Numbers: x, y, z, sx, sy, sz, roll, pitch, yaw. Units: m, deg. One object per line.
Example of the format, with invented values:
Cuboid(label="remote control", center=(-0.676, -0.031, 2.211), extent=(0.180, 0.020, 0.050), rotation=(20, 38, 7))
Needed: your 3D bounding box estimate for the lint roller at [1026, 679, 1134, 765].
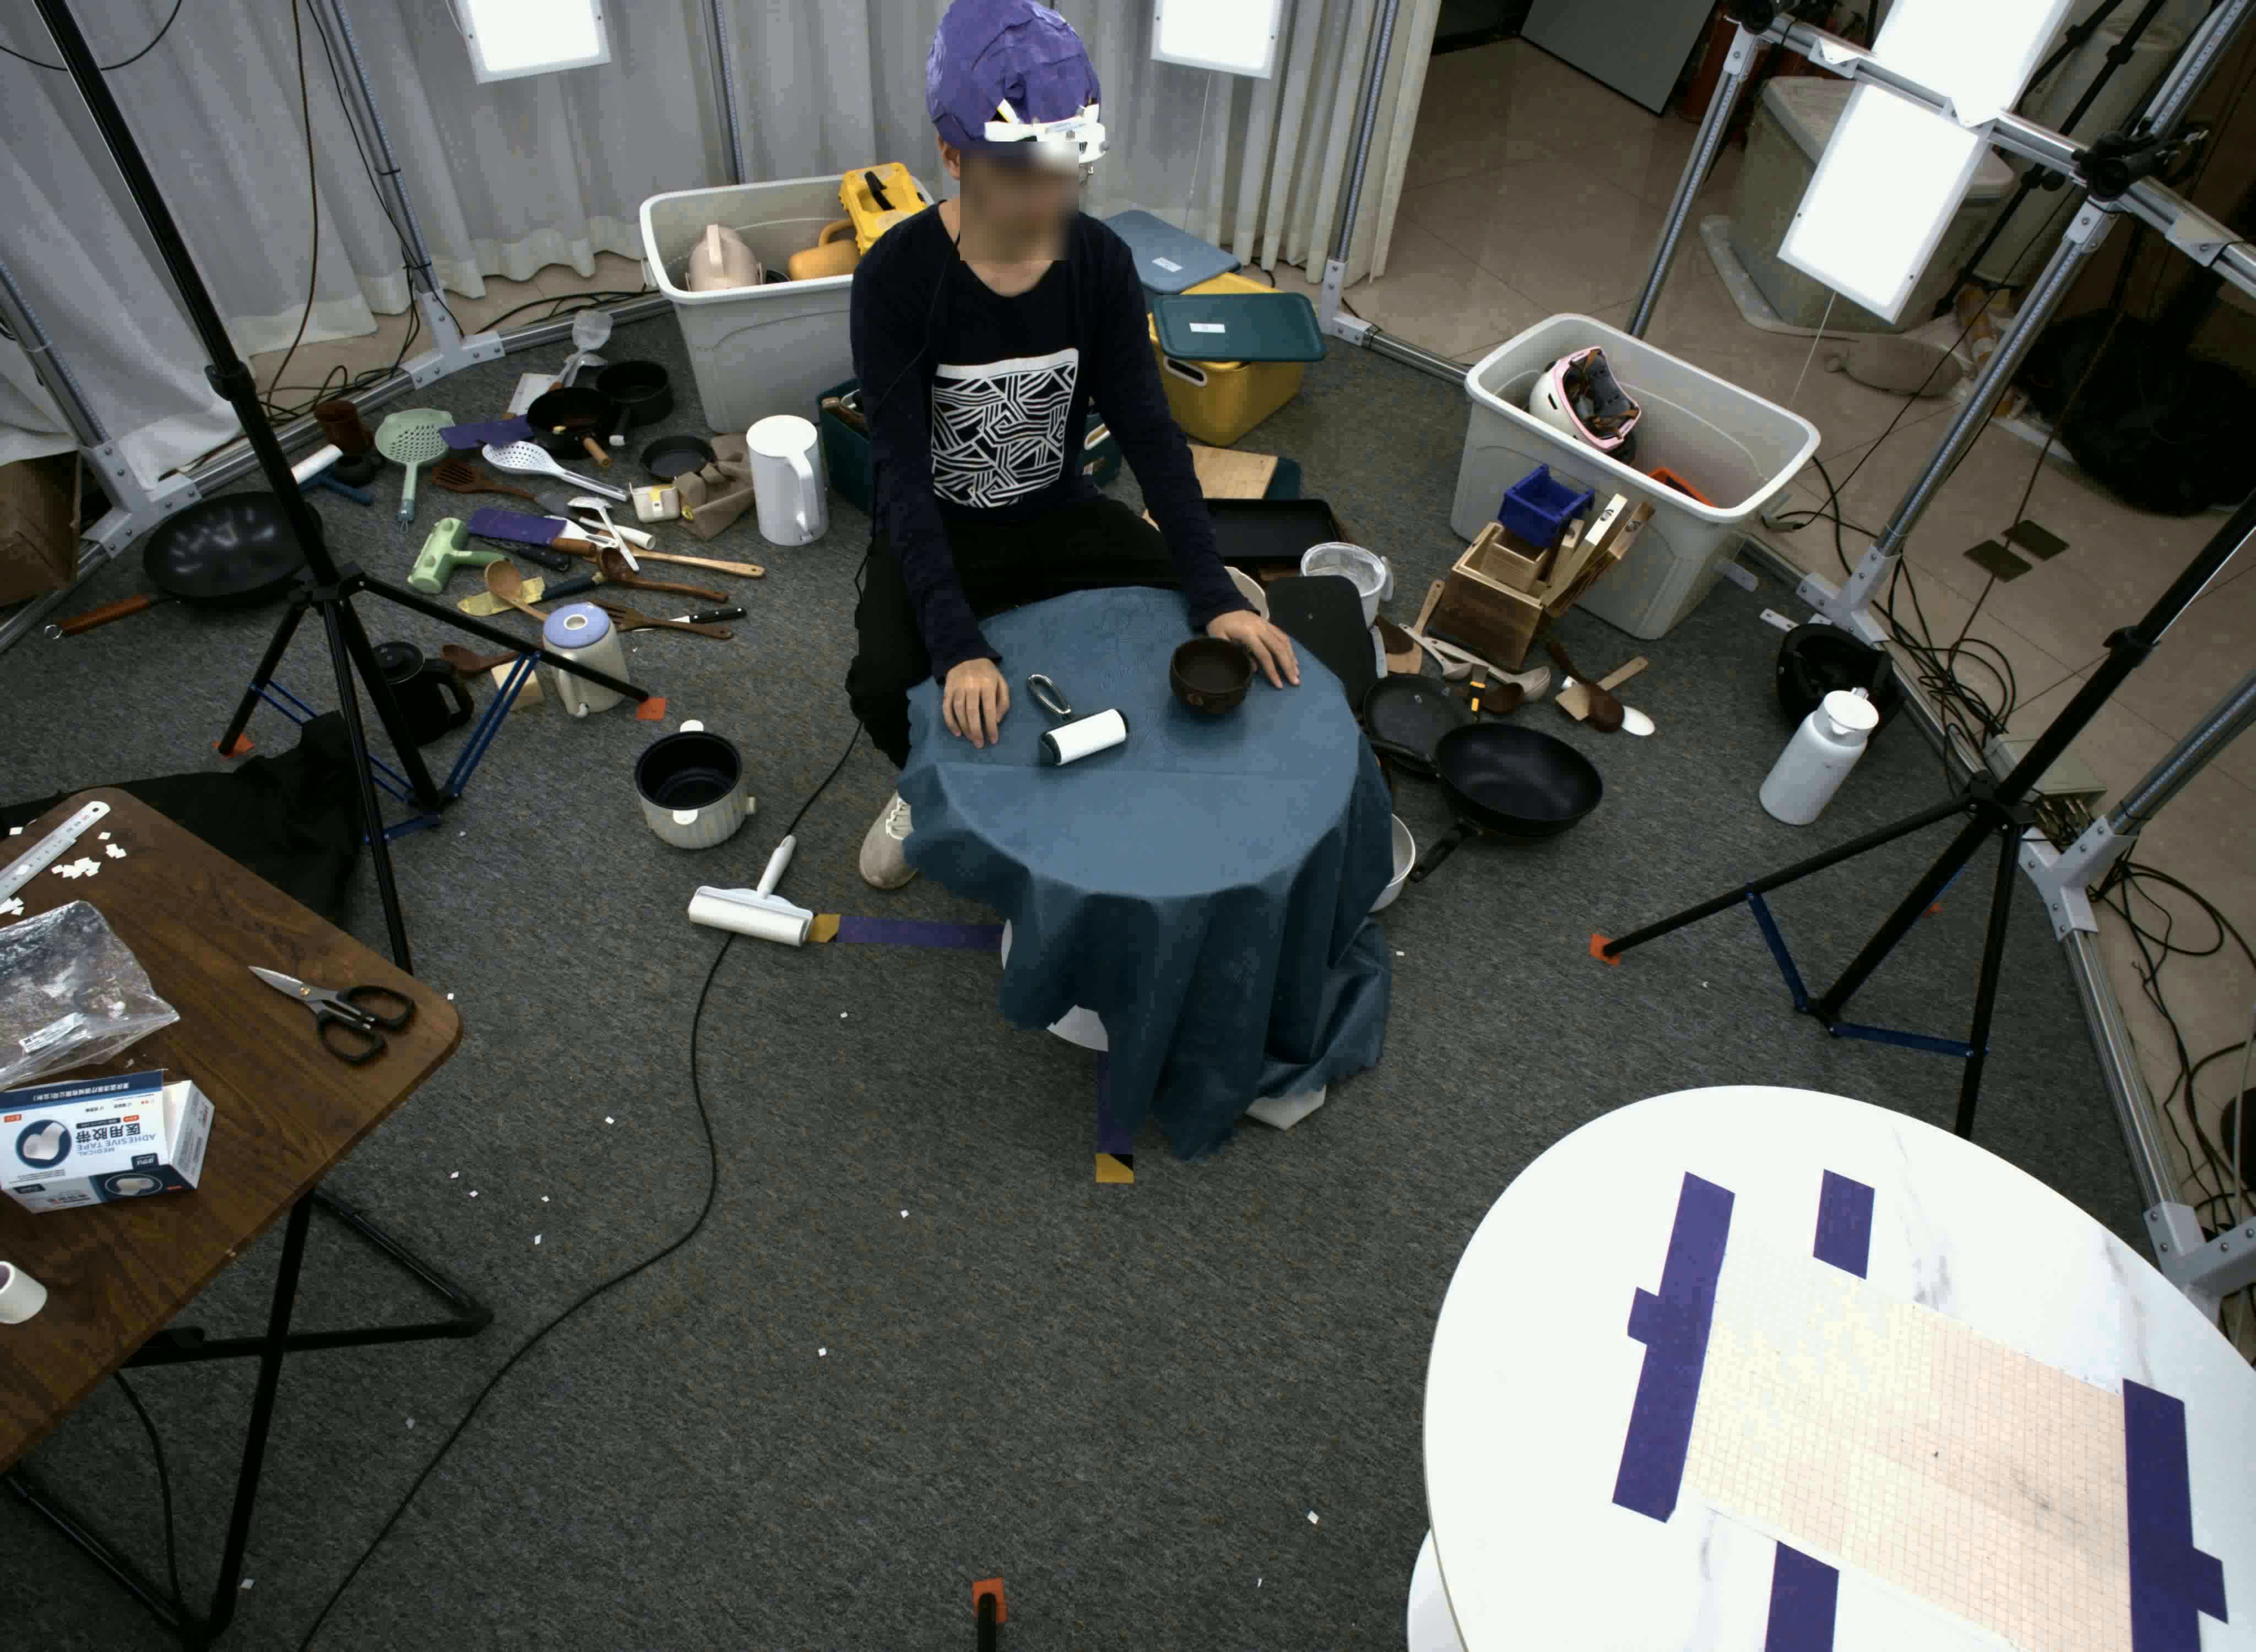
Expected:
Cuboid(label="lint roller", center=(-0.092, -0.164, 1.778), extent=(0.135, 0.047, 0.184), rotation=(-22, 52, -21))

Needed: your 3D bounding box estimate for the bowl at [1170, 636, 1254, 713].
Cuboid(label="bowl", center=(0.117, -0.205, 1.806), extent=(0.118, 0.068, 0.121), rotation=(0, 48, -1))
